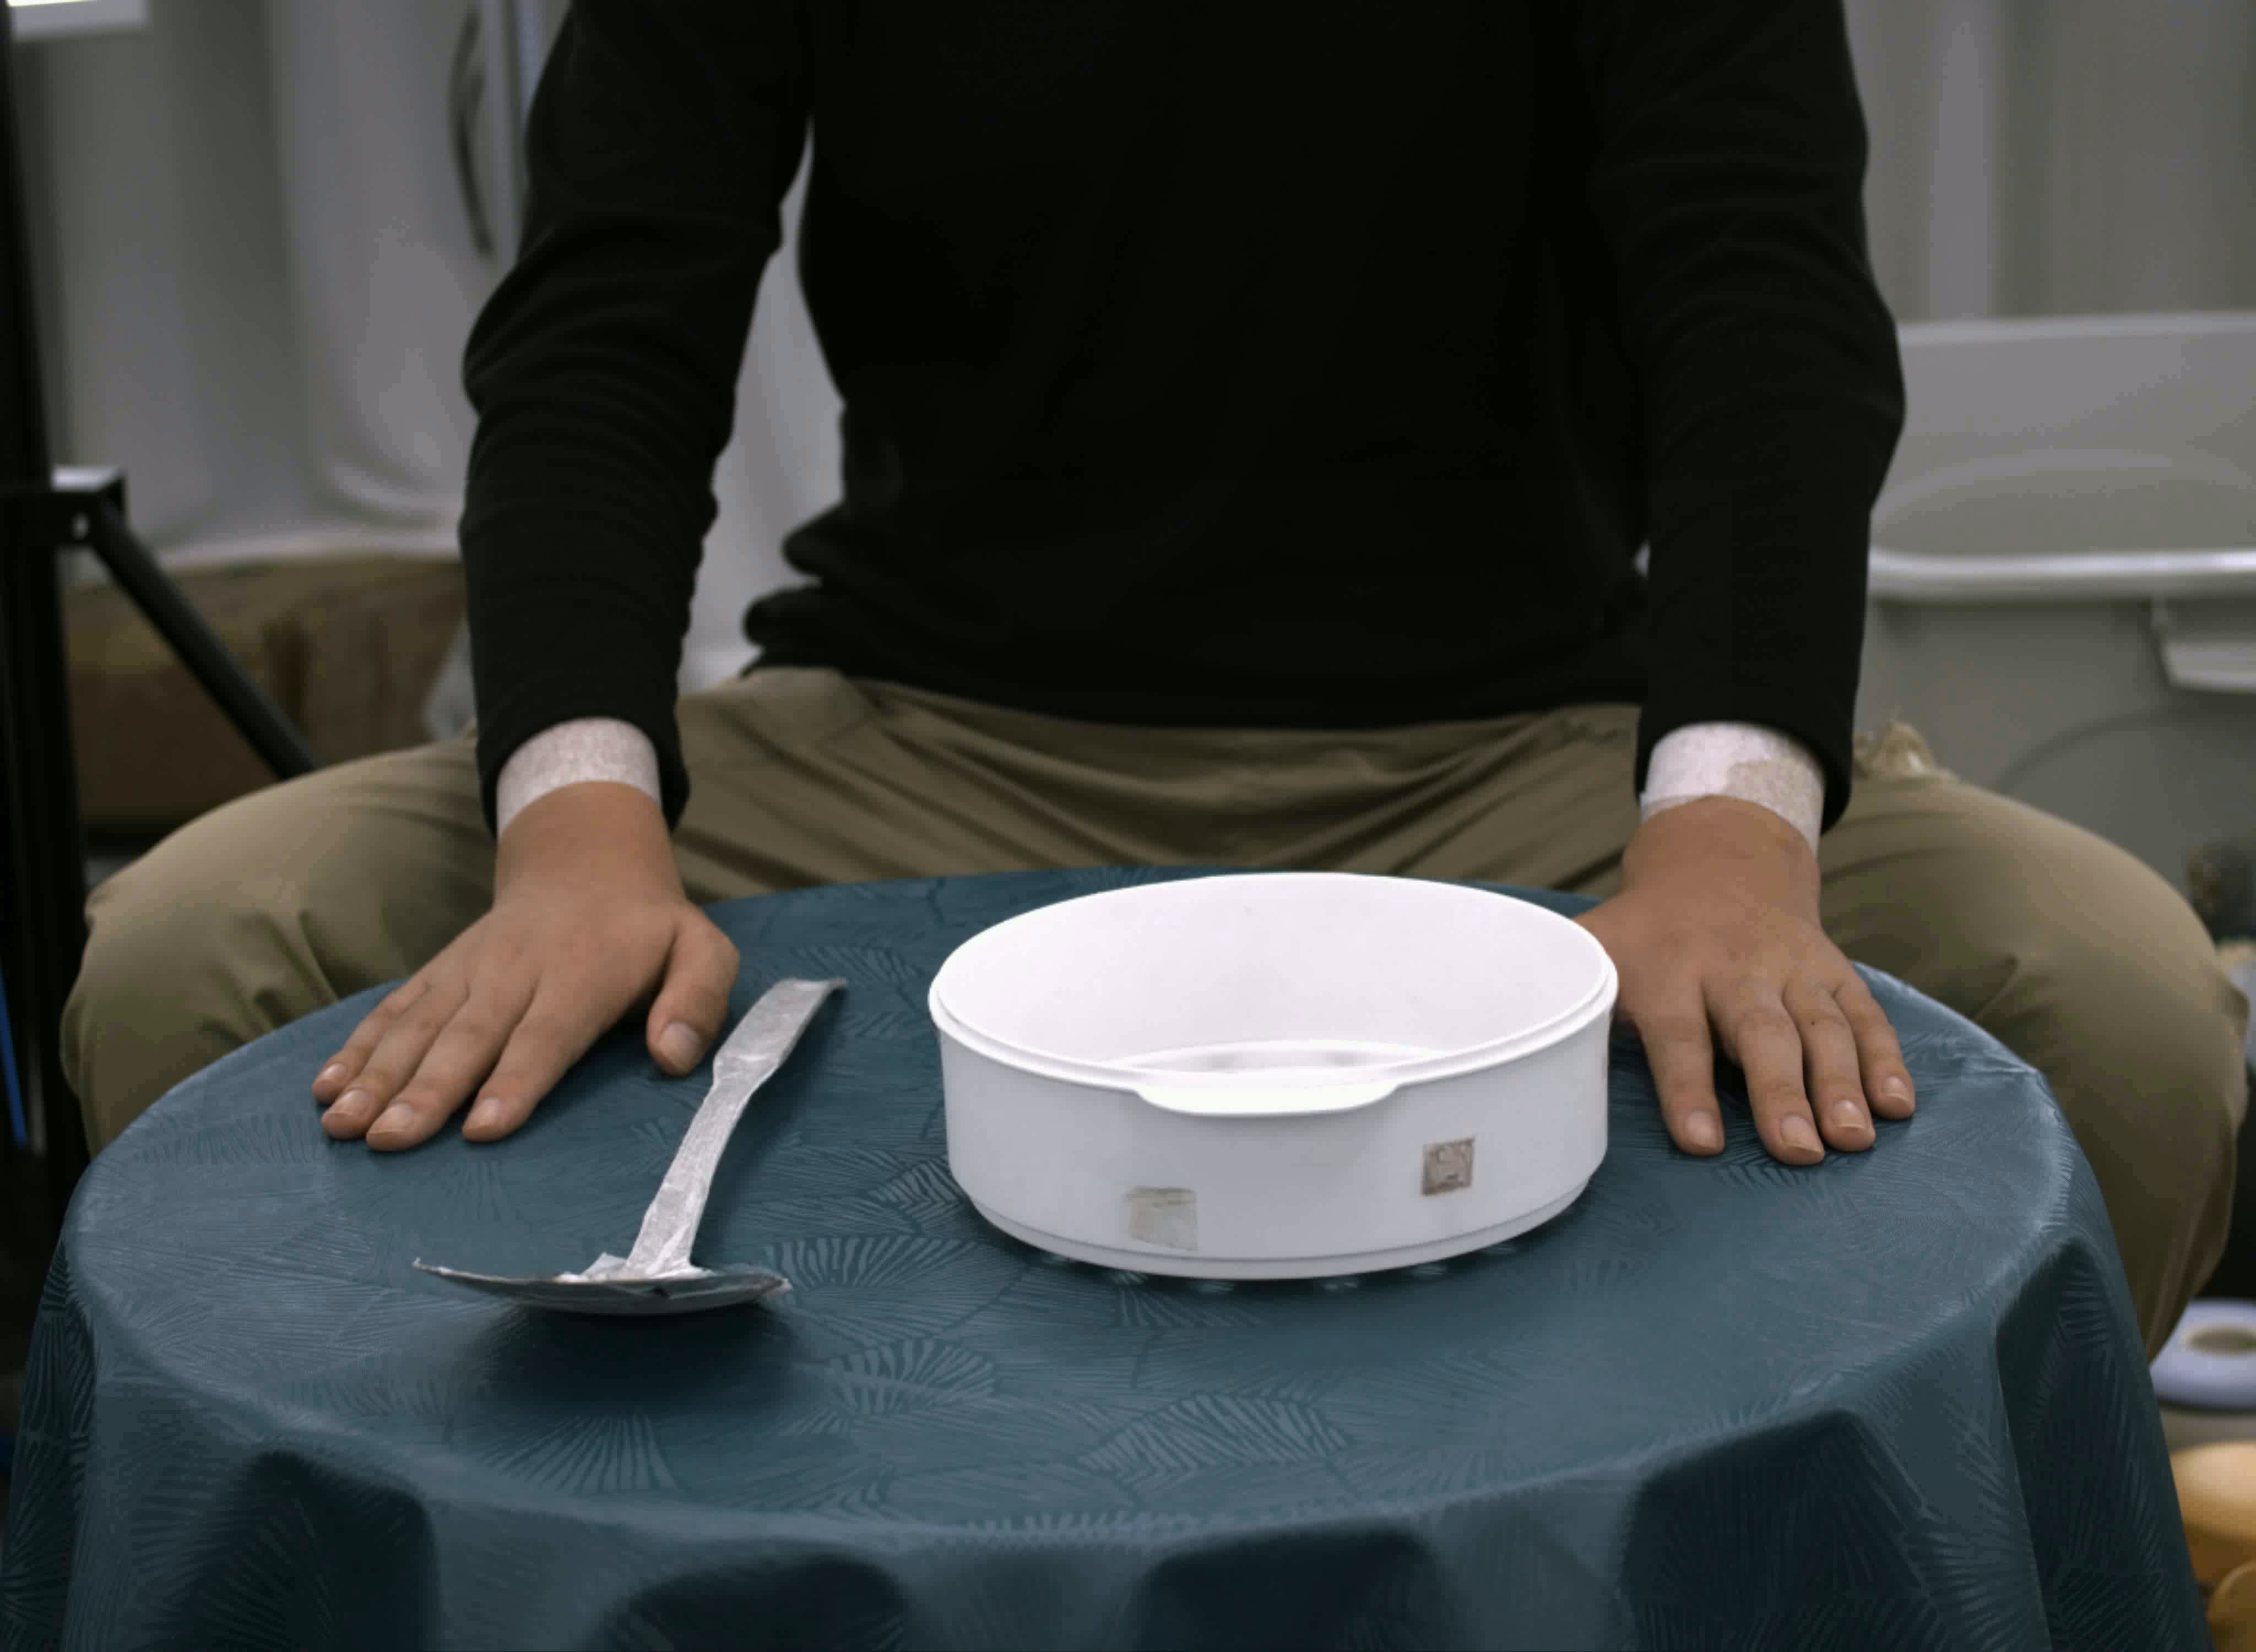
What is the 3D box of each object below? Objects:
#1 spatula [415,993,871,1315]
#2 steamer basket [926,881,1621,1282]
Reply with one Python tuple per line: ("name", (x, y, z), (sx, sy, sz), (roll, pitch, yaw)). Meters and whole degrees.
("spatula", (-0.121, 0.088, 1.579), (0.099, 0.045, 0.364), (-2, 16, 9))
("steamer basket", (0.042, 0.074, 1.544), (0.202, 0.069, 0.231), (0, 15, 4))
